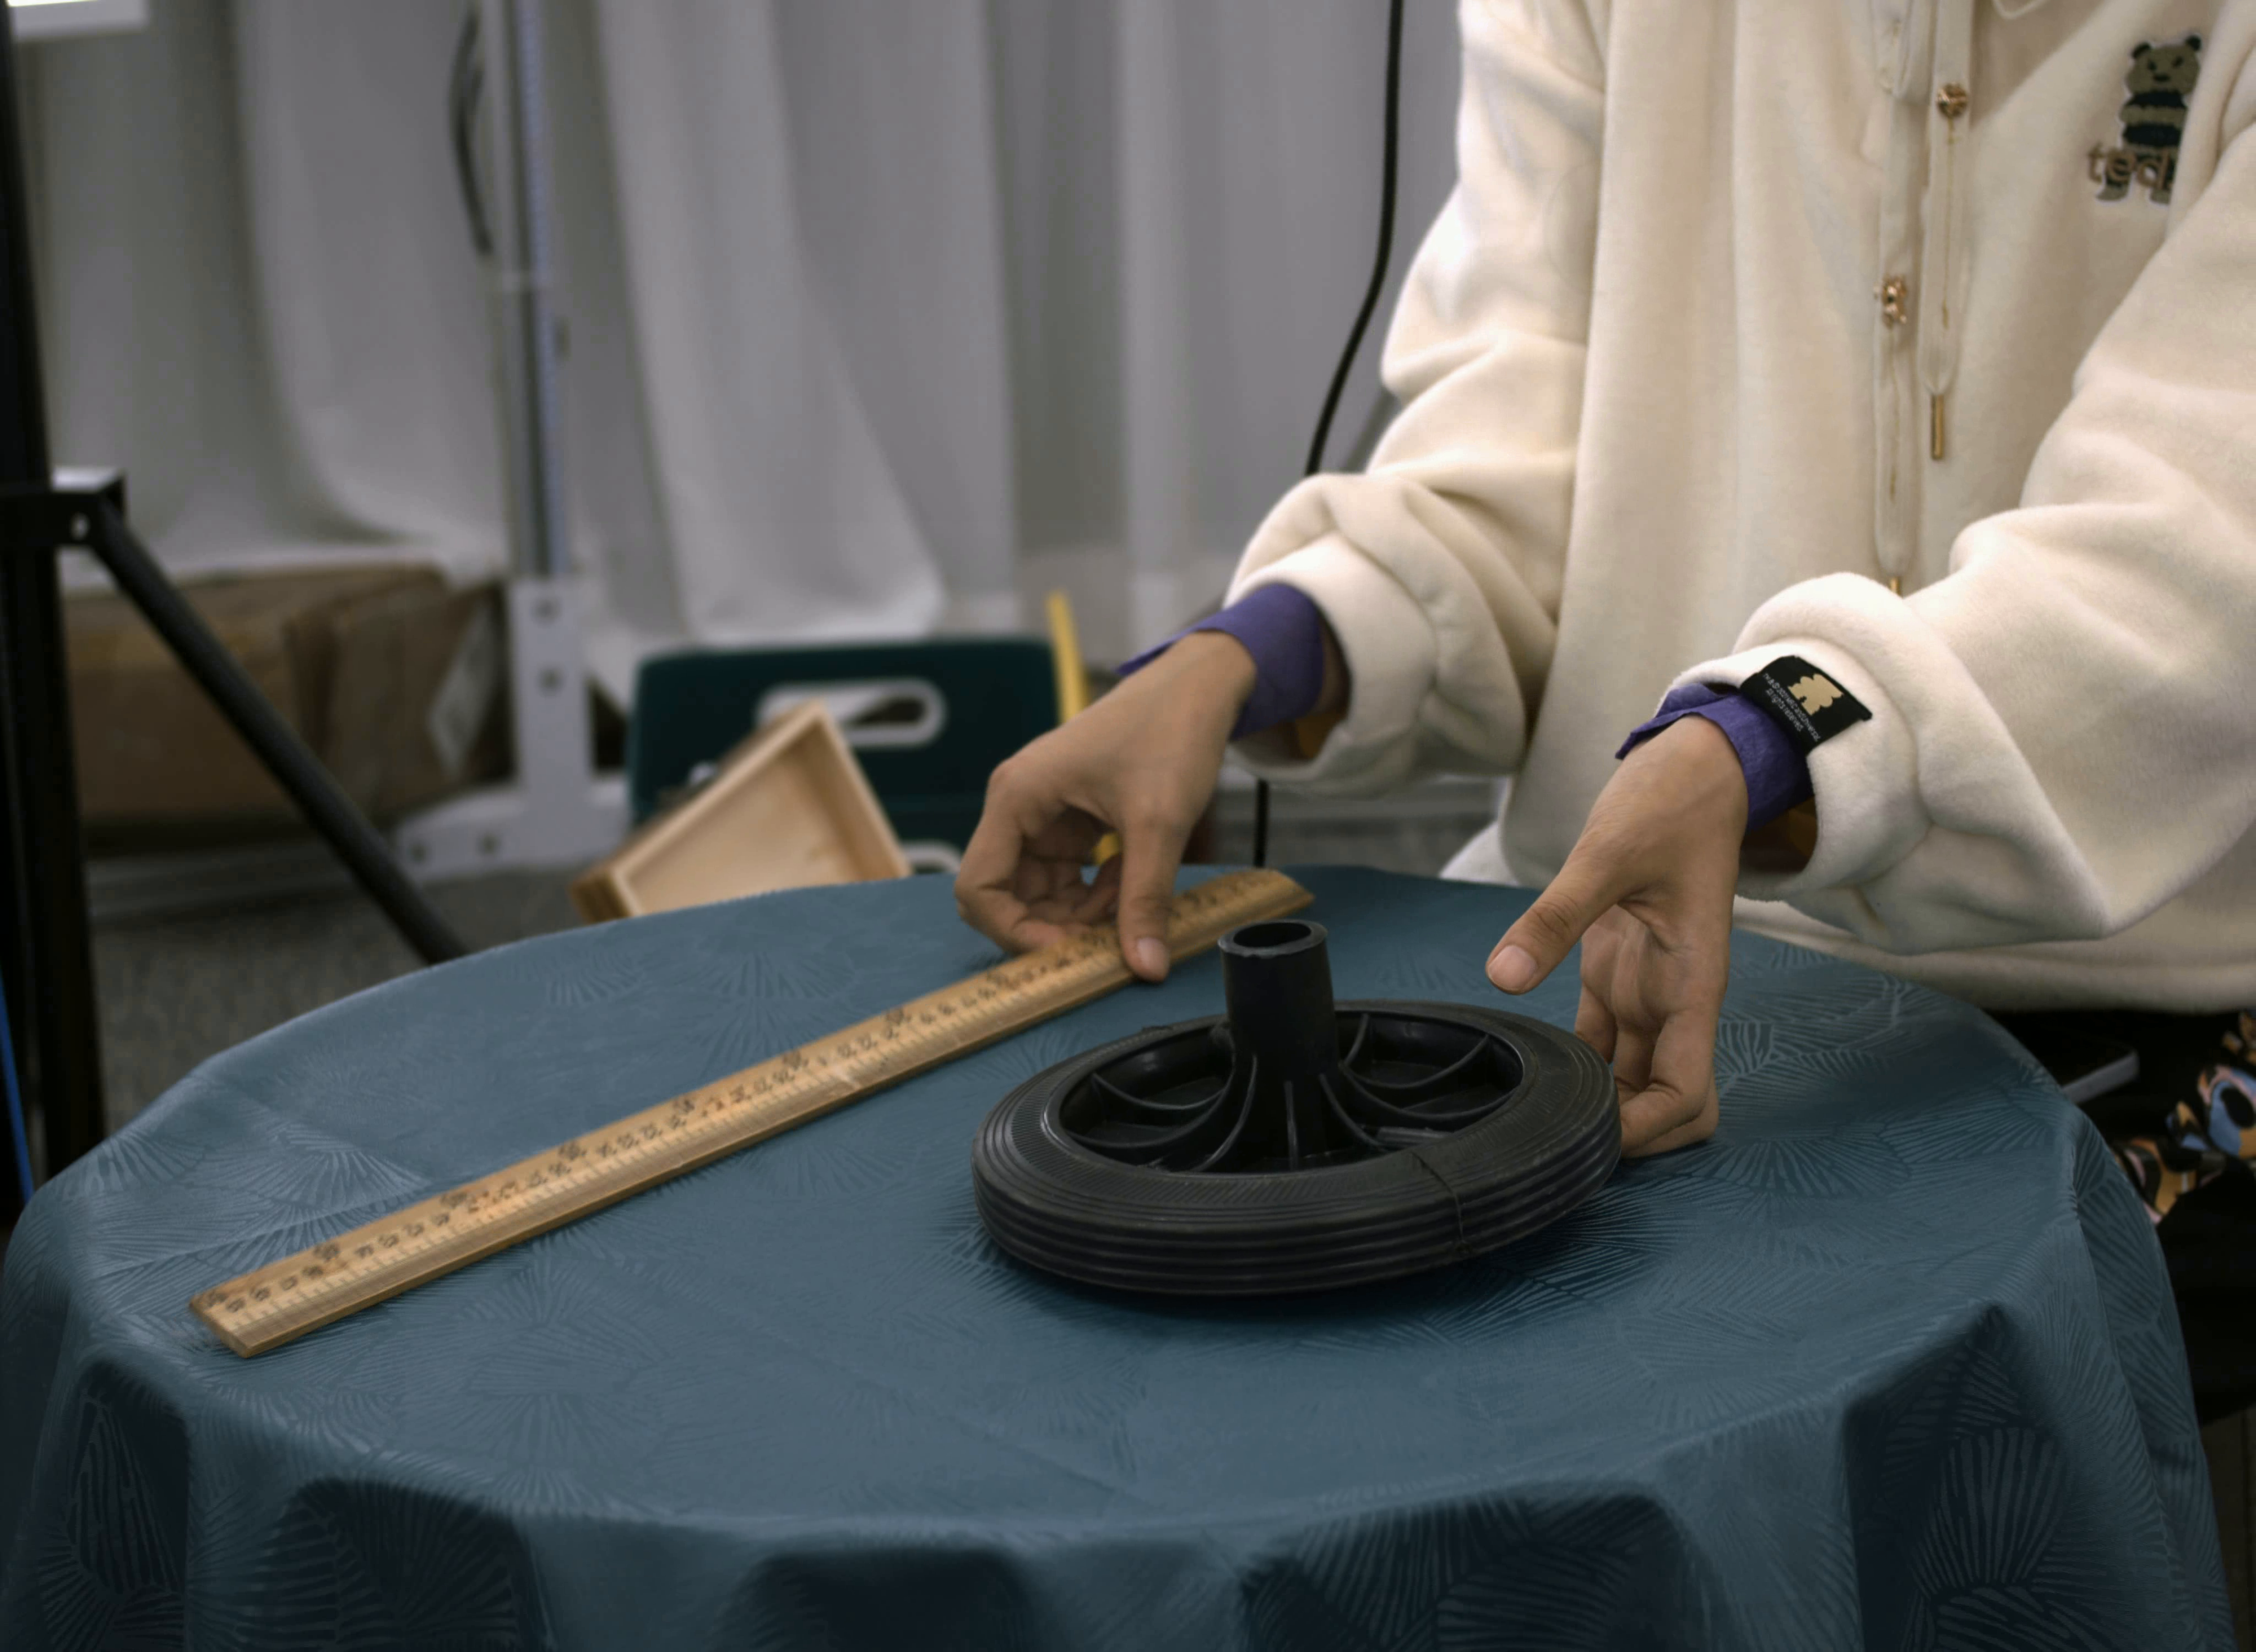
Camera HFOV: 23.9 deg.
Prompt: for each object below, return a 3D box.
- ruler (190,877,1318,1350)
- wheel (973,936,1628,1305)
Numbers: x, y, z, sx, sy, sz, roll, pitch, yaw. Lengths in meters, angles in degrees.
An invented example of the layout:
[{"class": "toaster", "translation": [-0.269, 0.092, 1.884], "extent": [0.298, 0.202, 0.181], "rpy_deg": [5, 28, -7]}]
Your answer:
[{"class": "ruler", "translation": [-0.098, 0.080, 1.650], "extent": [0.027, 0.006, 0.490], "rpy_deg": [28, 30, 31]}, {"class": "wheel", "translation": [0.047, 0.074, 1.524], "extent": [0.191, 0.079, 0.187], "rpy_deg": [-3, 17, 12]}]
